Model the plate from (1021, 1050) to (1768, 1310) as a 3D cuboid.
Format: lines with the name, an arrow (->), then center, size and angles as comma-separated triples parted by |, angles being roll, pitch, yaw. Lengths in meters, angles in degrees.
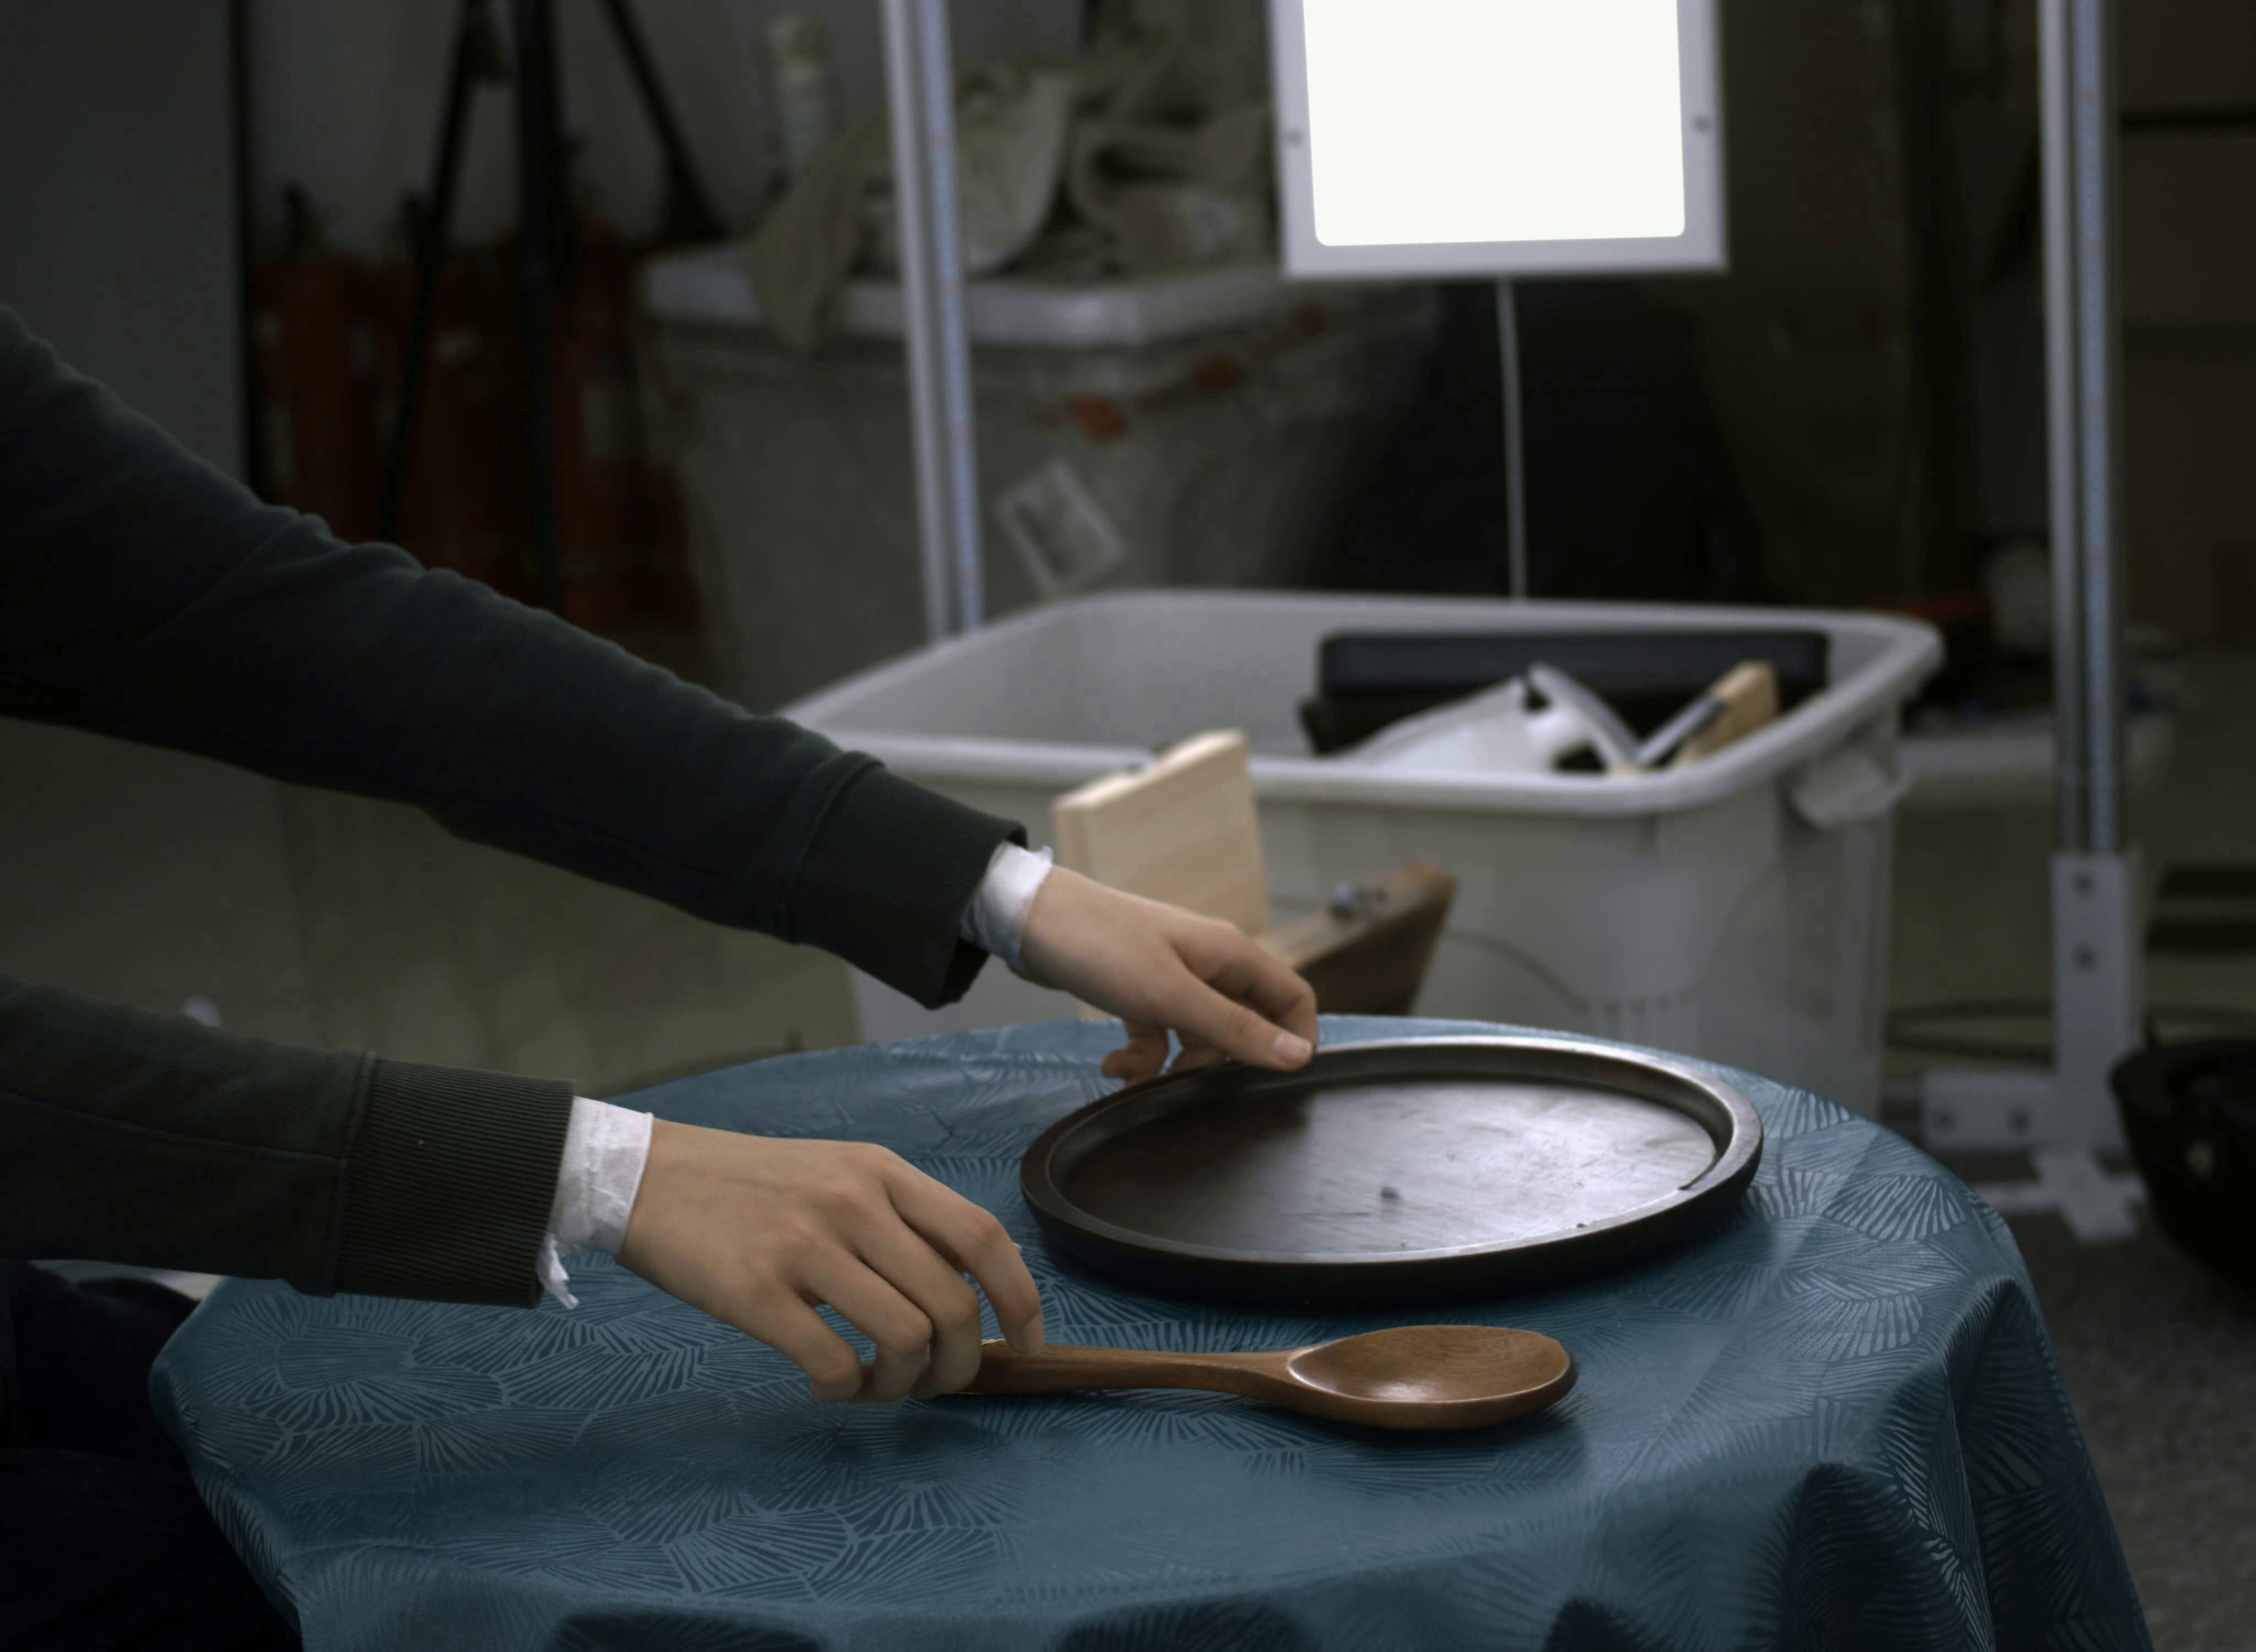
plate -> 0.090, 0.117, 1.859 | 0.254, 0.029, 0.254 | -4, 13, 0

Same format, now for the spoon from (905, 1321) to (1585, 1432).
spoon -> 0.034, 0.167, 1.681 | 0.219, 0.017, 0.074 | 1, 15, 21
